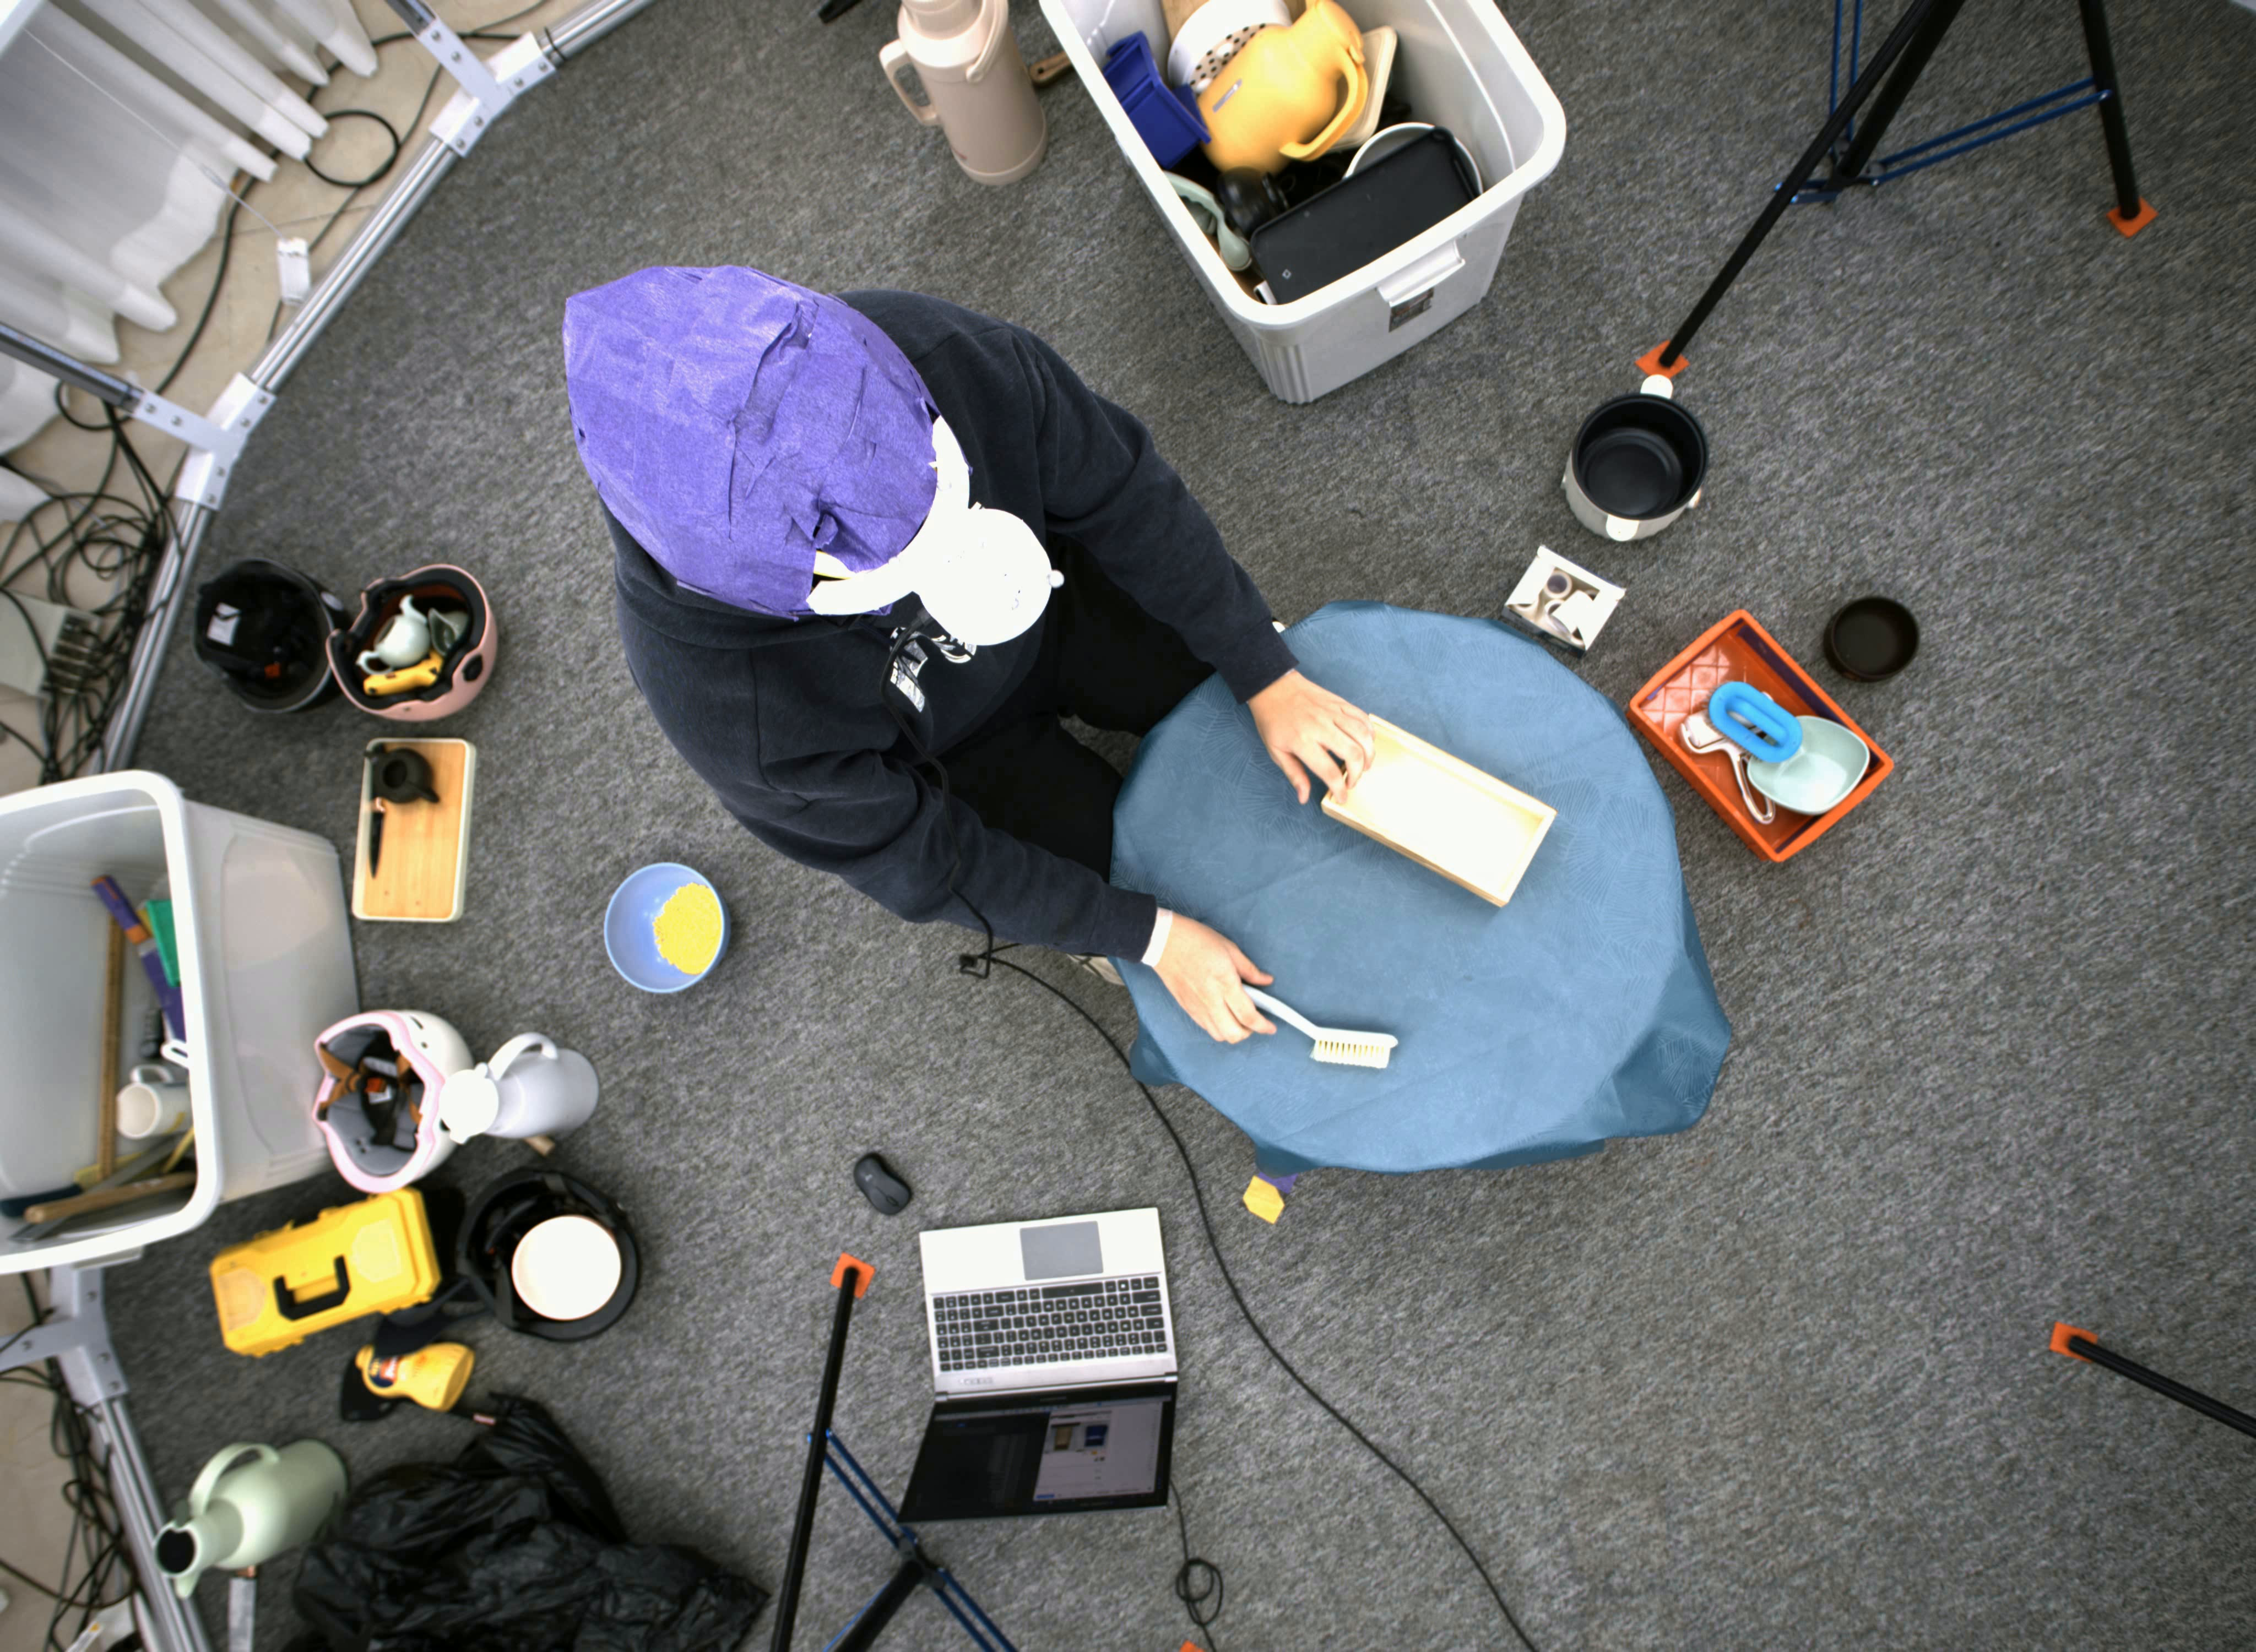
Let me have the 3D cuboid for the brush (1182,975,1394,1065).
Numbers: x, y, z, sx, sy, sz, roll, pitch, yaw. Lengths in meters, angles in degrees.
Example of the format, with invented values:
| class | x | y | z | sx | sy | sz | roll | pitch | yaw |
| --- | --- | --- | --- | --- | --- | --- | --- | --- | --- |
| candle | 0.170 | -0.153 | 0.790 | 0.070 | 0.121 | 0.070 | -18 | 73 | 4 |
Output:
| class | x | y | z | sx | sy | sz | roll | pitch | yaw |
| --- | --- | --- | --- | --- | --- | --- | --- | --- | --- |
| brush | 0.163 | 0.205 | 1.454 | 0.229 | 0.038 | 0.049 | 17 | 90 | 12 |

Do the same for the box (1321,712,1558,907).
| class | x | y | z | sx | sy | sz | roll | pitch | yaw |
| --- | --- | --- | --- | --- | --- | --- | --- | --- | --- |
| box | 0.317 | -0.018 | 1.416 | 0.211 | 0.080 | 0.107 | 29 | 91 | 11 |
